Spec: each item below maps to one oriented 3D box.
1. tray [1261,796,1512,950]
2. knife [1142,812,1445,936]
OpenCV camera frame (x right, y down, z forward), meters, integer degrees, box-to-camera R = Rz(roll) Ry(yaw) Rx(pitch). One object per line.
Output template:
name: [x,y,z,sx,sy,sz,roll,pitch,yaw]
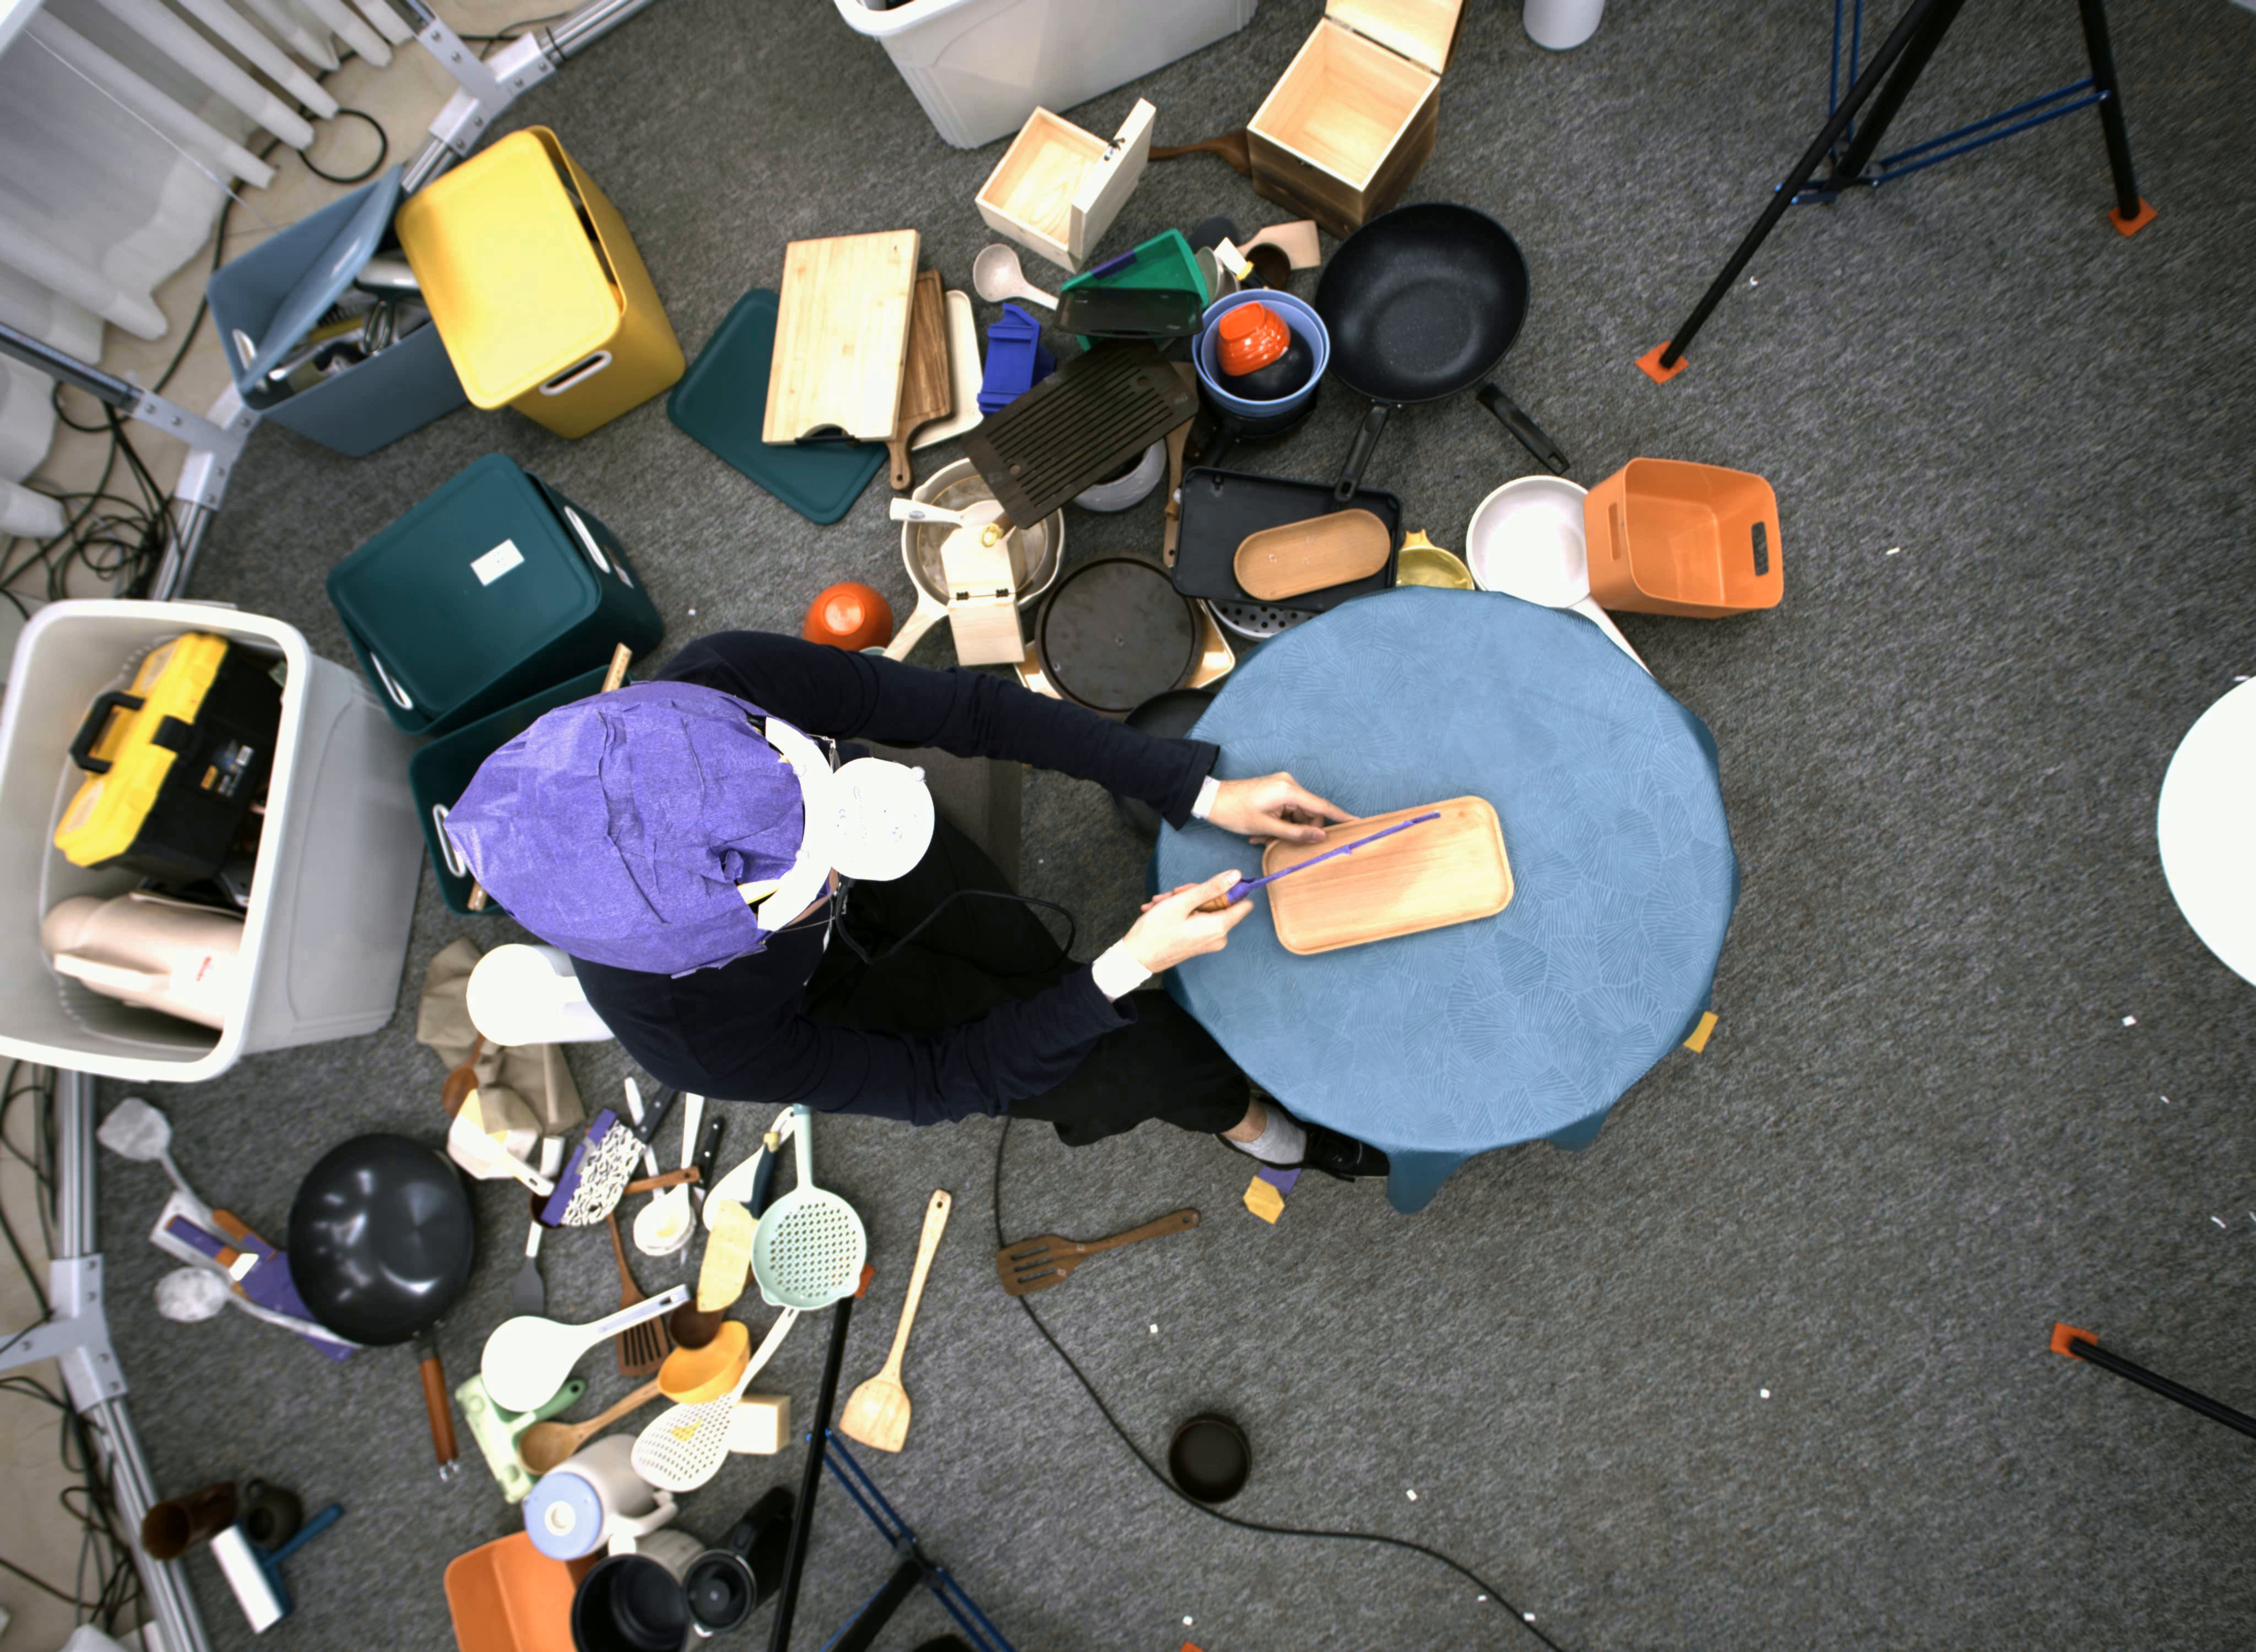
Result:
tray: [0.269,0.048,1.441,0.252,0.023,0.130,-10,87,7]
knife: [0.169,0.046,1.393,0.318,0.103,0.032,-20,83,15]
